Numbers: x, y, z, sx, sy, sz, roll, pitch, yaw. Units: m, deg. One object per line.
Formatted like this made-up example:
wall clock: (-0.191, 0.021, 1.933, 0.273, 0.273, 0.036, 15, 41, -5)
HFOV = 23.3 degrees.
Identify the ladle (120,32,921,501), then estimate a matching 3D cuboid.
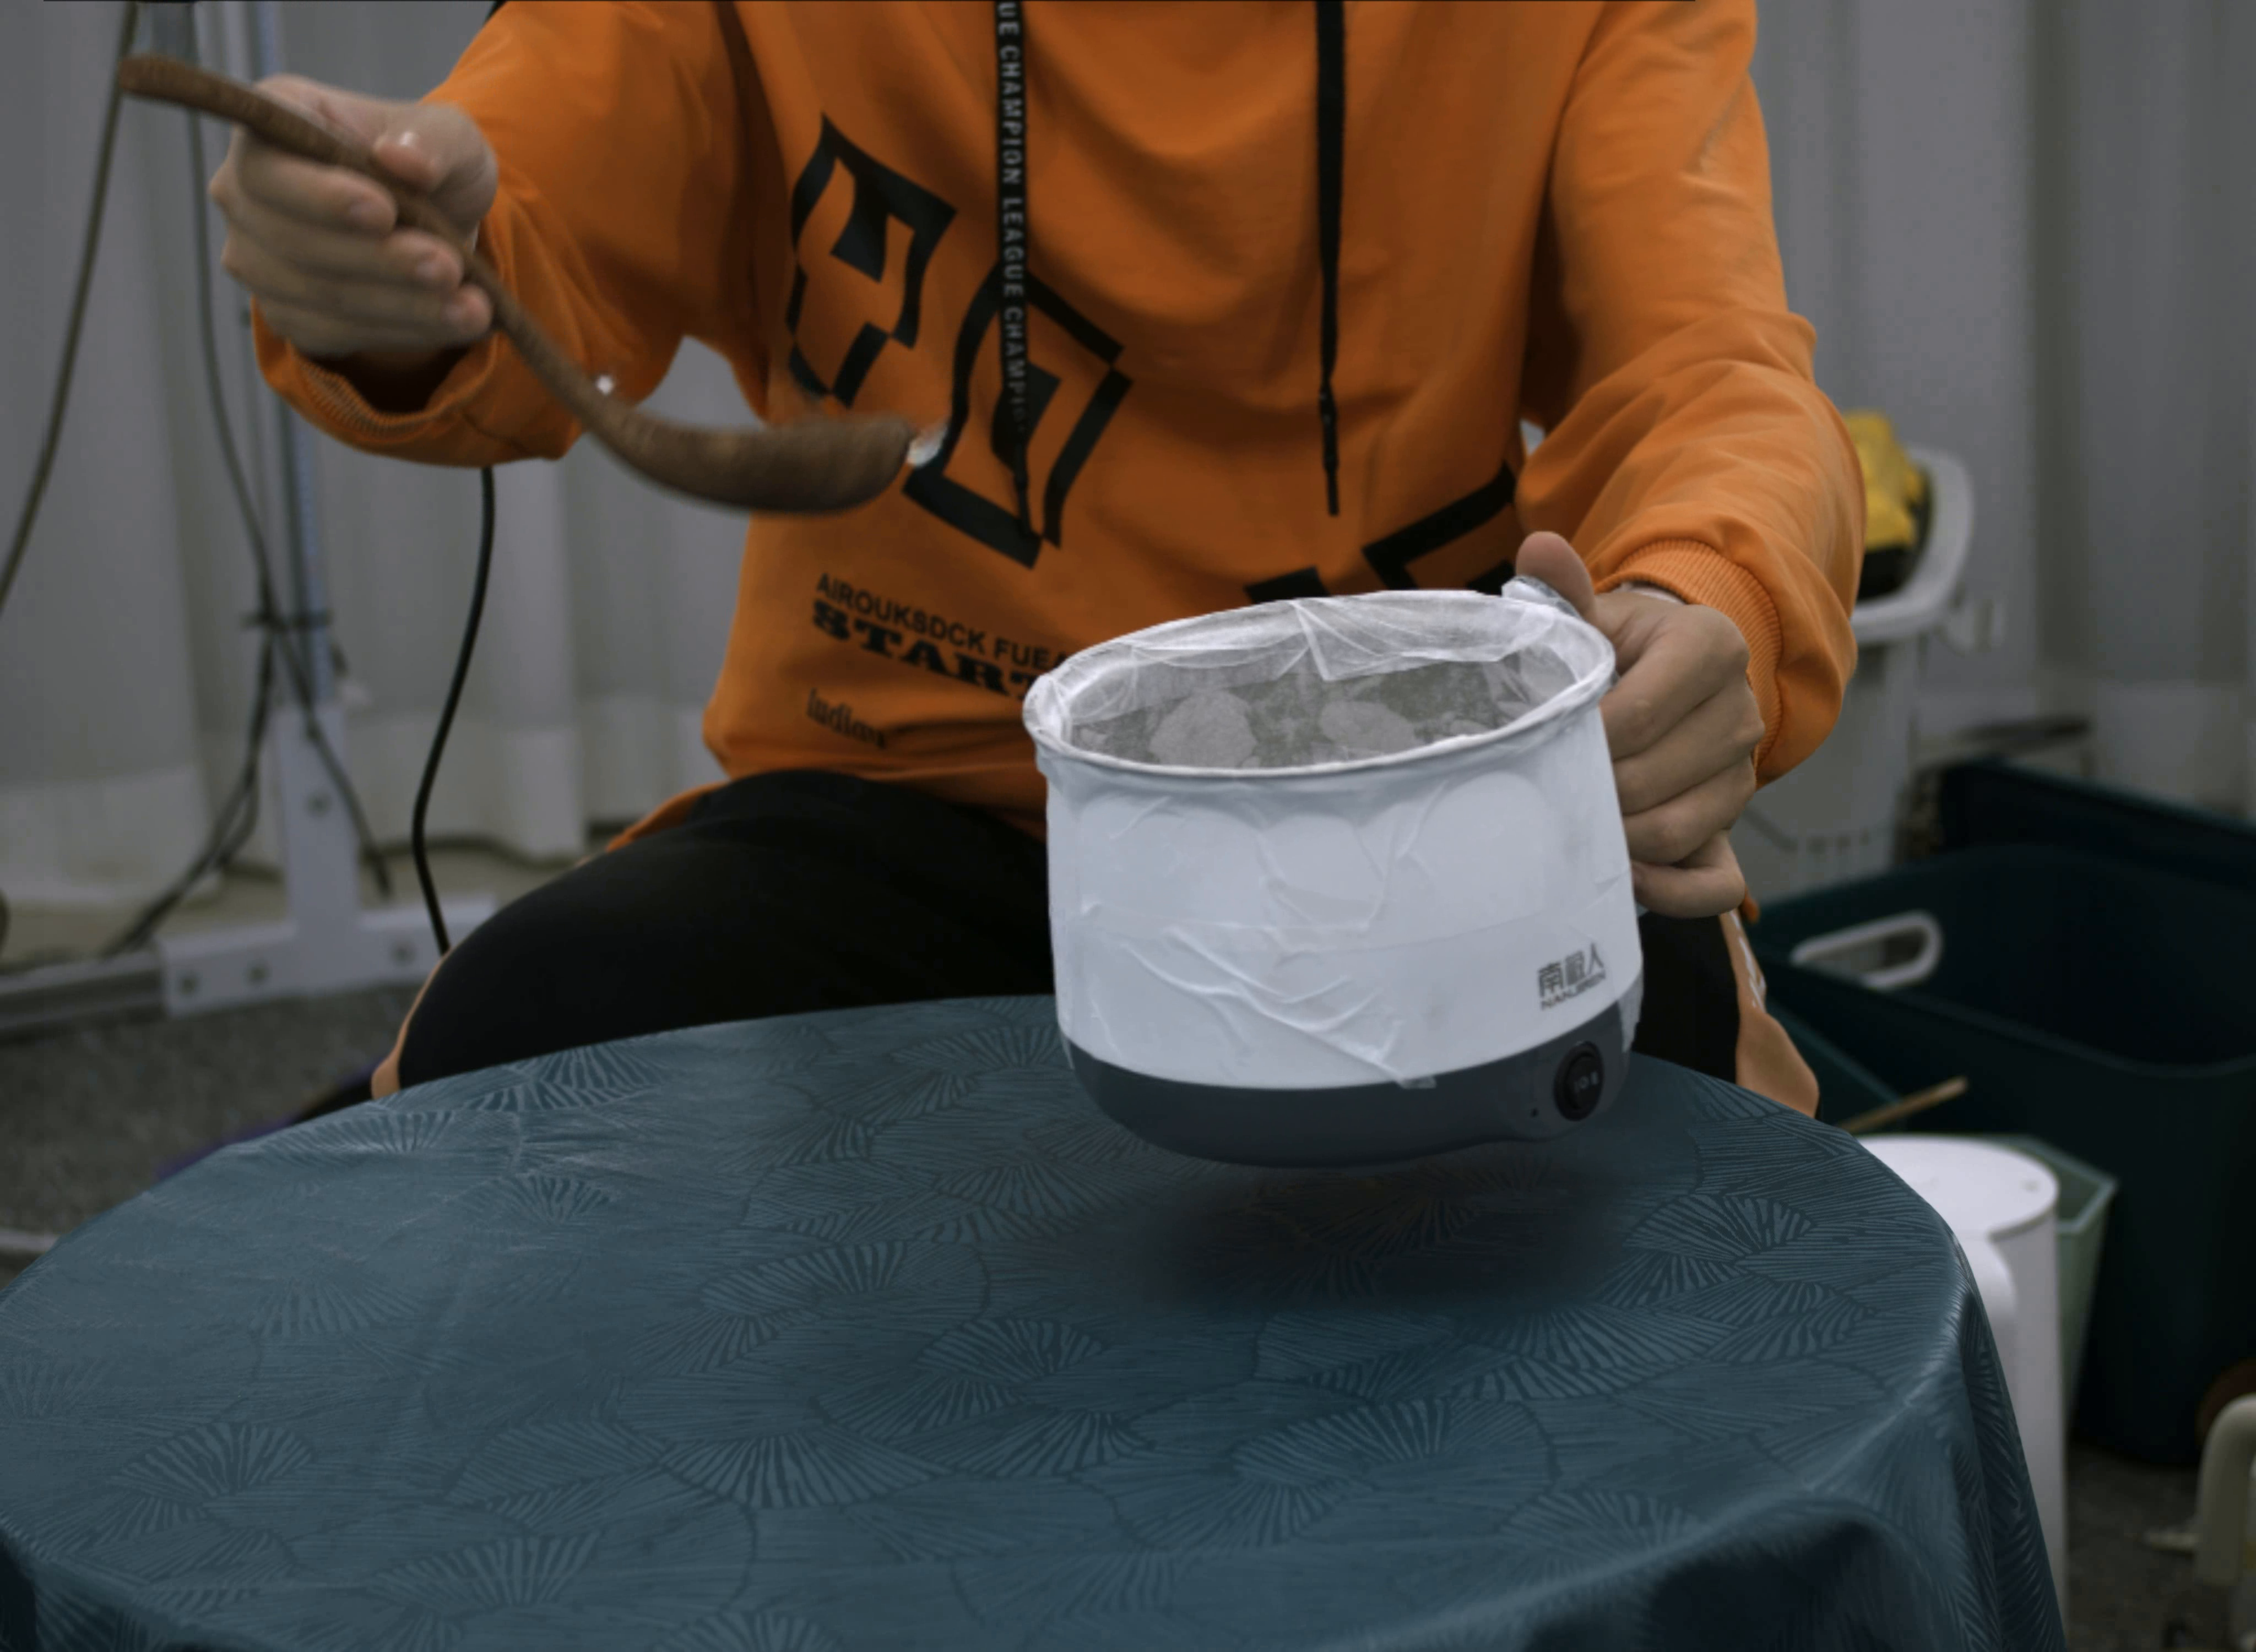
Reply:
ladle: (-0.178, -0.175, 1.633, 0.260, 0.065, 0.076, 36, -5, -2)

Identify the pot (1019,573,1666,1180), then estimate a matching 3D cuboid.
pot: (0.080, 0.008, 1.657, 0.179, 0.136, 0.234, 10, 24, 40)
